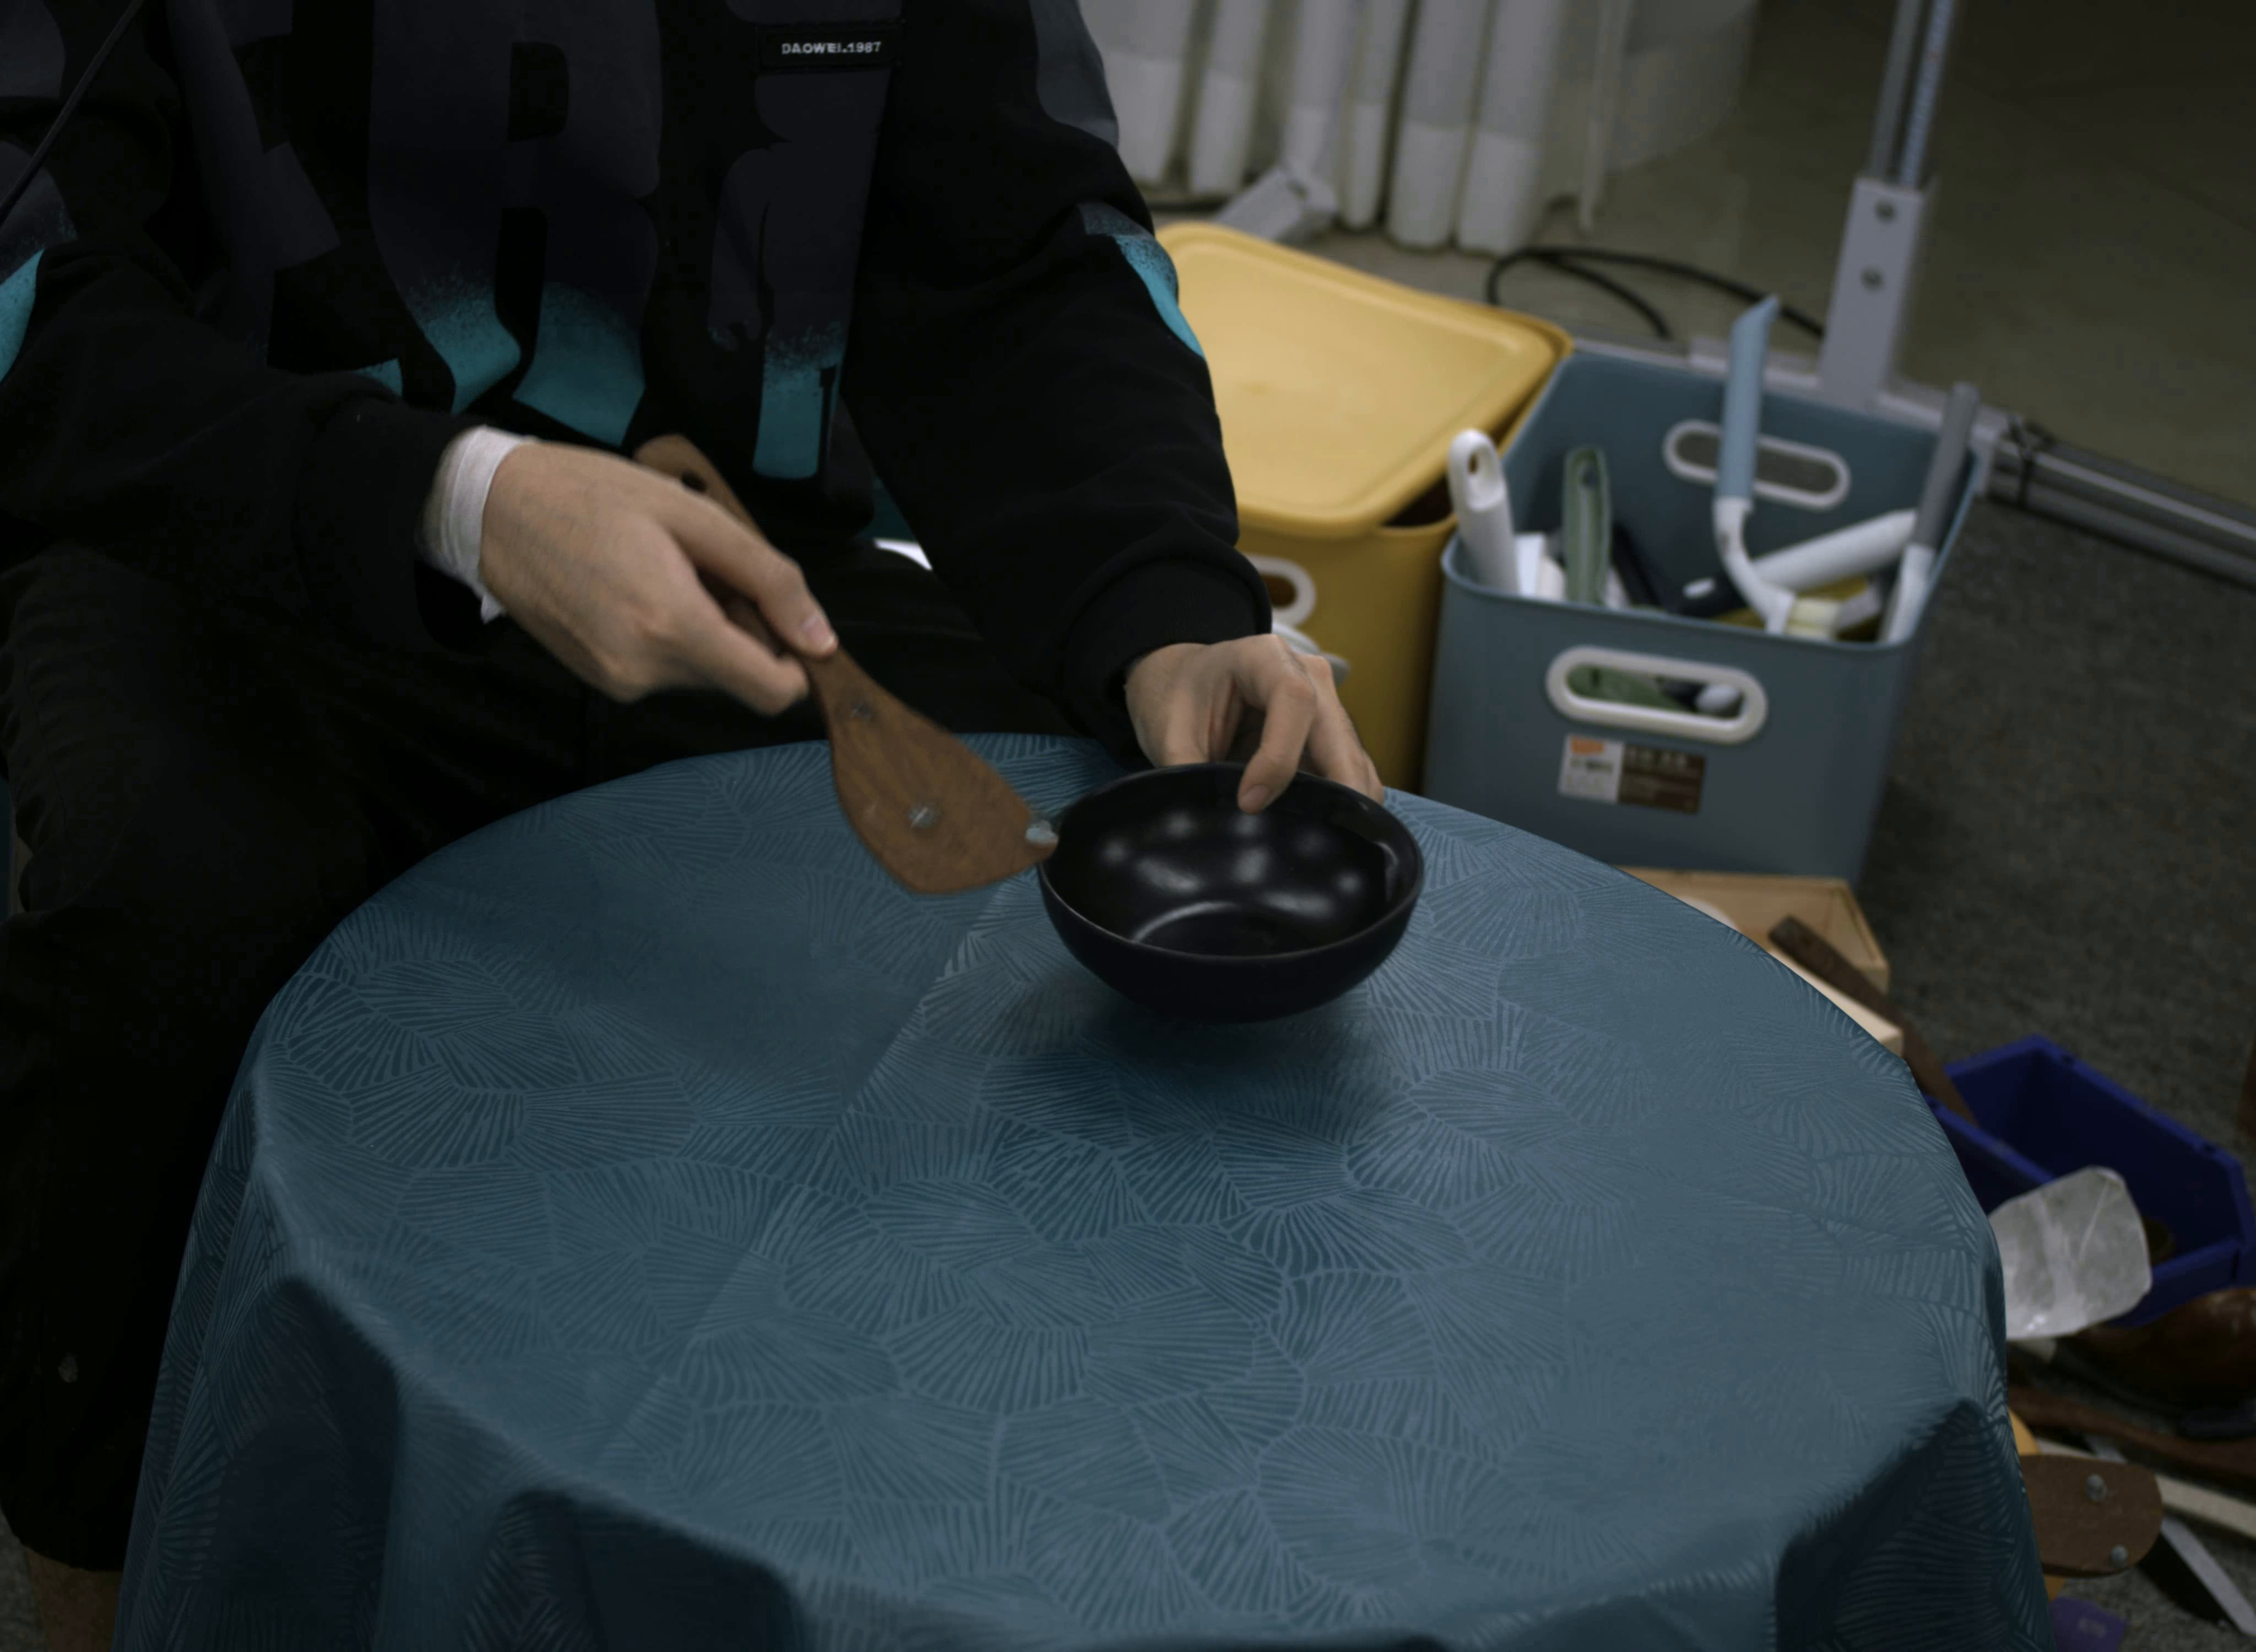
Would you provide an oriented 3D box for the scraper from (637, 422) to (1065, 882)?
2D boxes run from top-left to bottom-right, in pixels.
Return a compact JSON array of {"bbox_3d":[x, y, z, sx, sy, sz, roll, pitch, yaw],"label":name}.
[{"bbox_3d":[-0.104,-0.062,1.848,0.075,0.011,0.212,-18,62,-44],"label":"scraper"}]

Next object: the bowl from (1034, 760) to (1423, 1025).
[{"bbox_3d":[0.036,0.032,1.904,0.139,0.049,0.141,-2,31,1],"label":"bowl"}]
